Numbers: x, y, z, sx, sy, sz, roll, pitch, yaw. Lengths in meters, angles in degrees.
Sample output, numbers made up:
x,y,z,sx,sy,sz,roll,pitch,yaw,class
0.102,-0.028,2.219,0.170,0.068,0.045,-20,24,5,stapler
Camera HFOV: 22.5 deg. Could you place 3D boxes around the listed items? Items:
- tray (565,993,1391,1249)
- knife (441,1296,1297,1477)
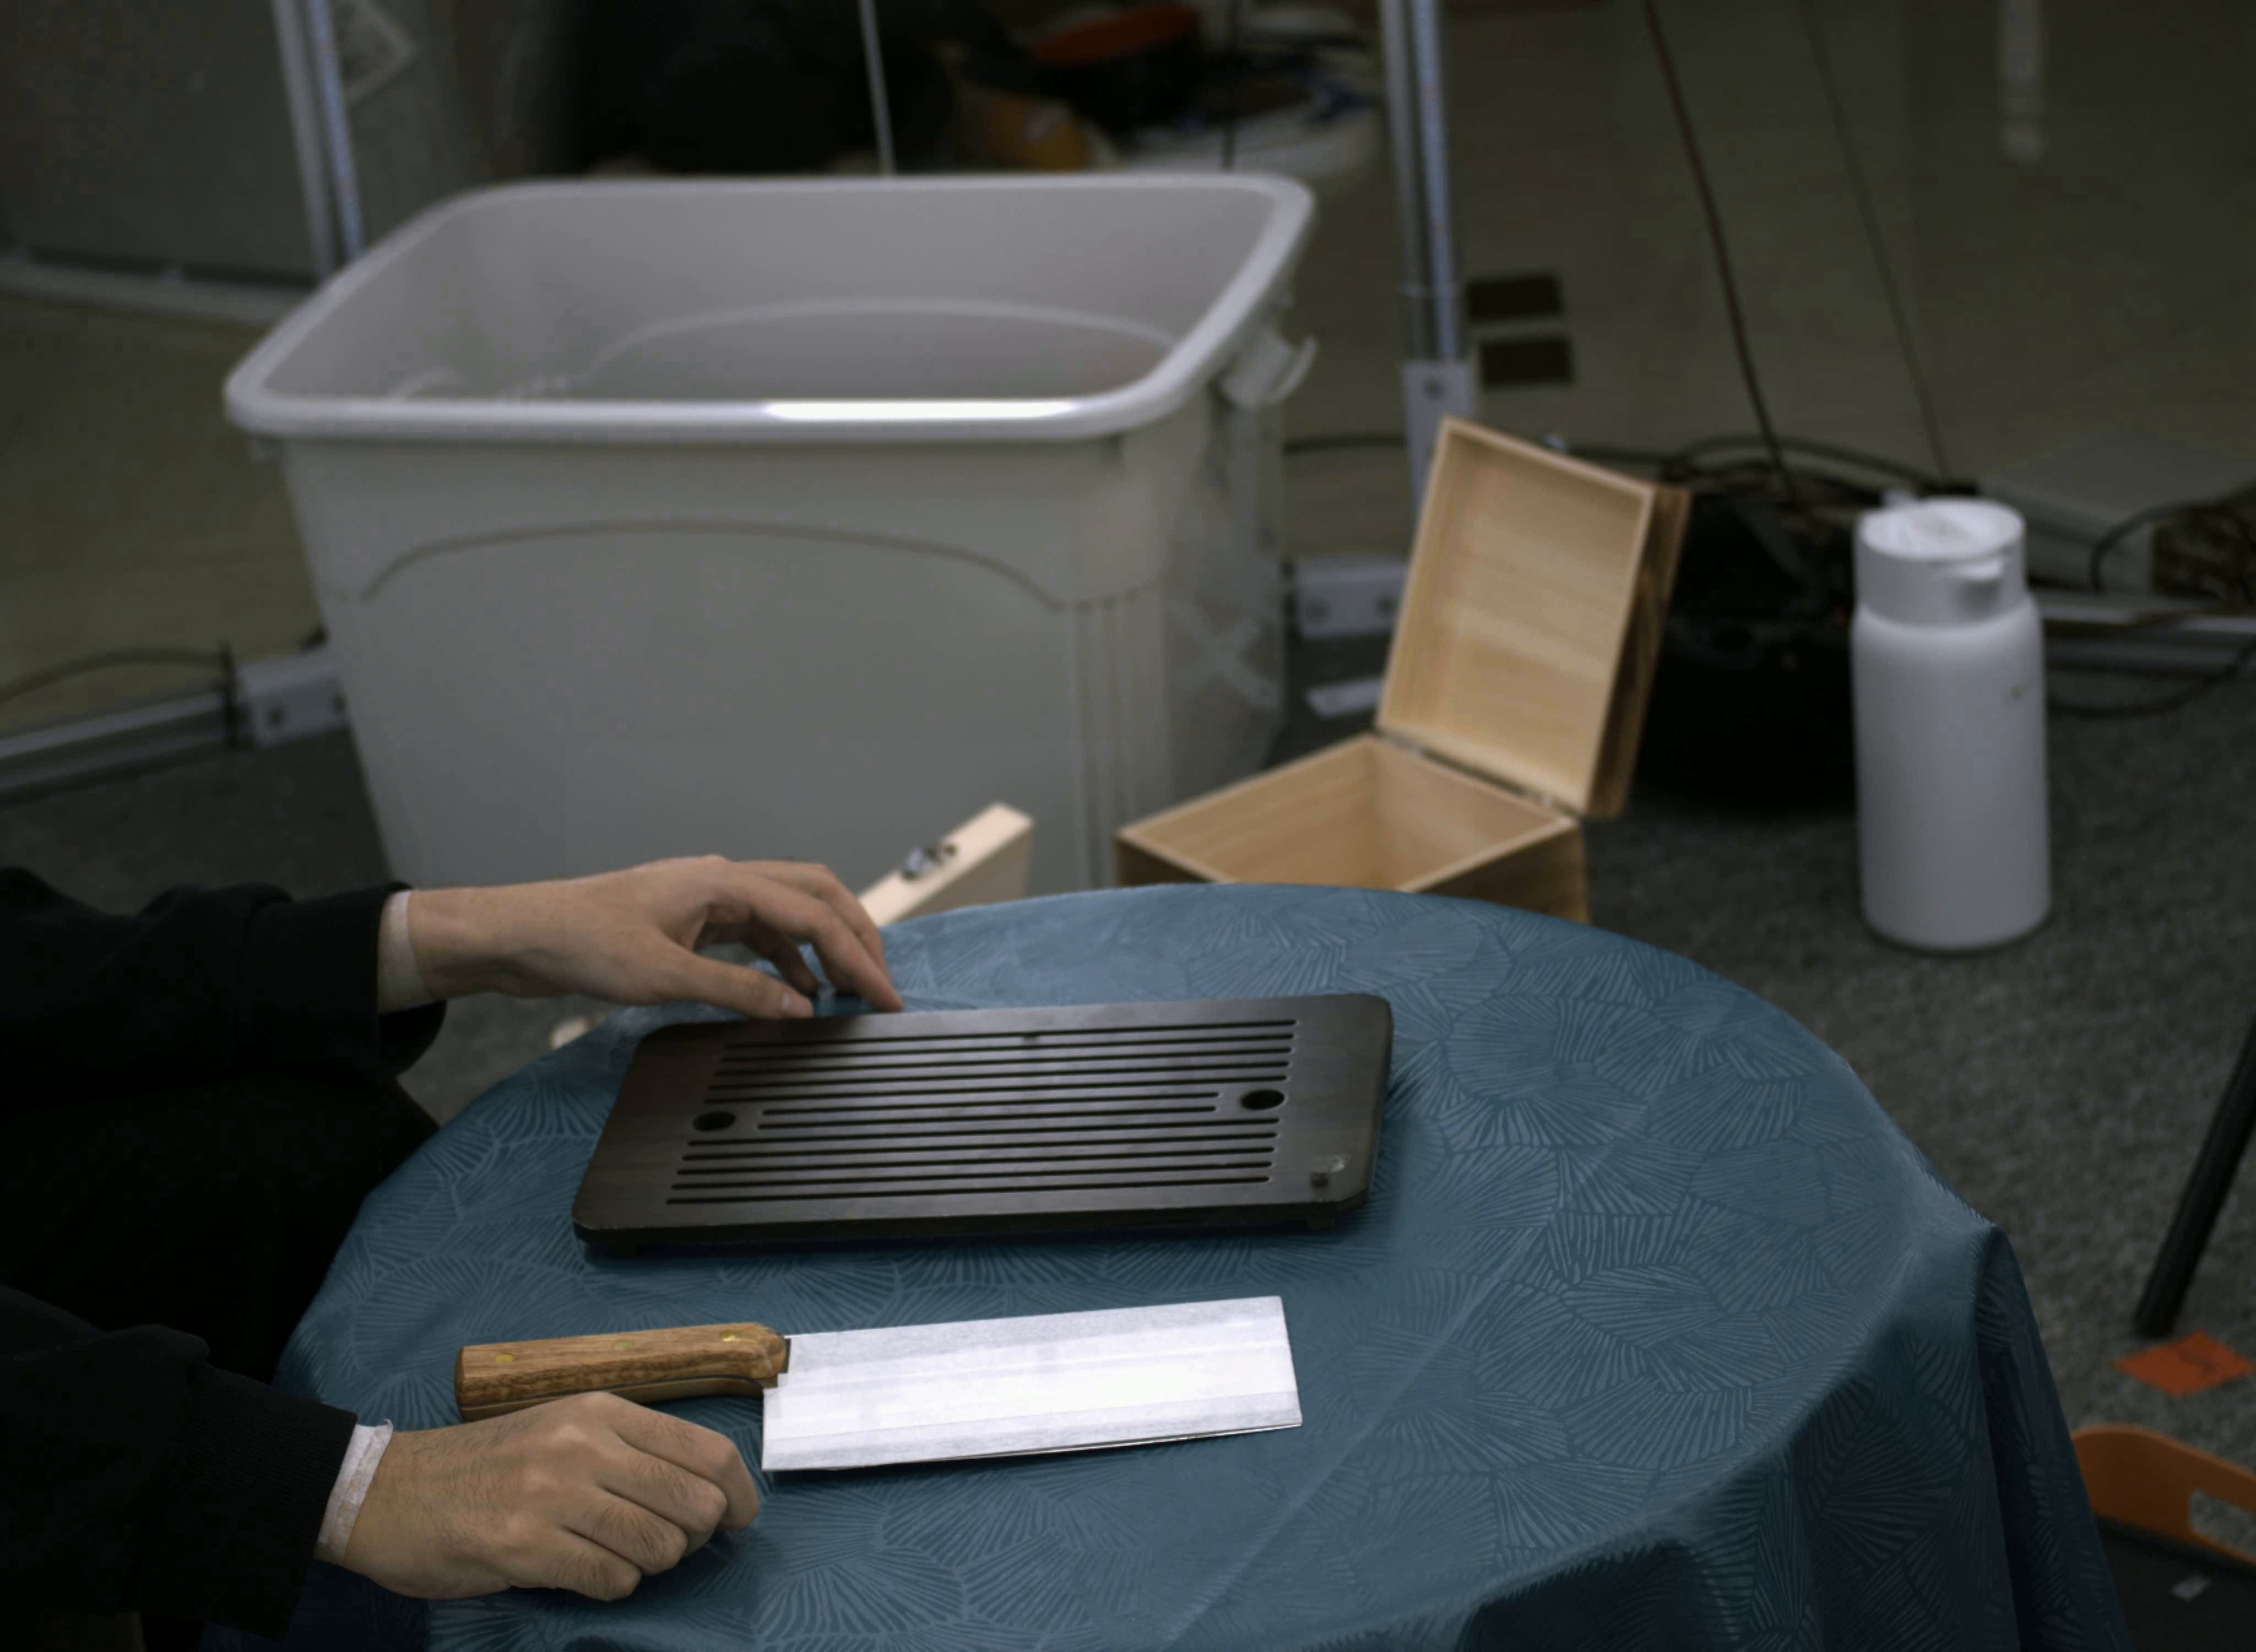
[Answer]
x,y,z,sx,sy,sz,roll,pitch,yaw,class
-0.055,0.115,2.191,0.305,0.019,0.167,-2,26,8,tray
-0.093,0.202,2.018,0.305,0.021,0.091,-5,27,-2,knife
